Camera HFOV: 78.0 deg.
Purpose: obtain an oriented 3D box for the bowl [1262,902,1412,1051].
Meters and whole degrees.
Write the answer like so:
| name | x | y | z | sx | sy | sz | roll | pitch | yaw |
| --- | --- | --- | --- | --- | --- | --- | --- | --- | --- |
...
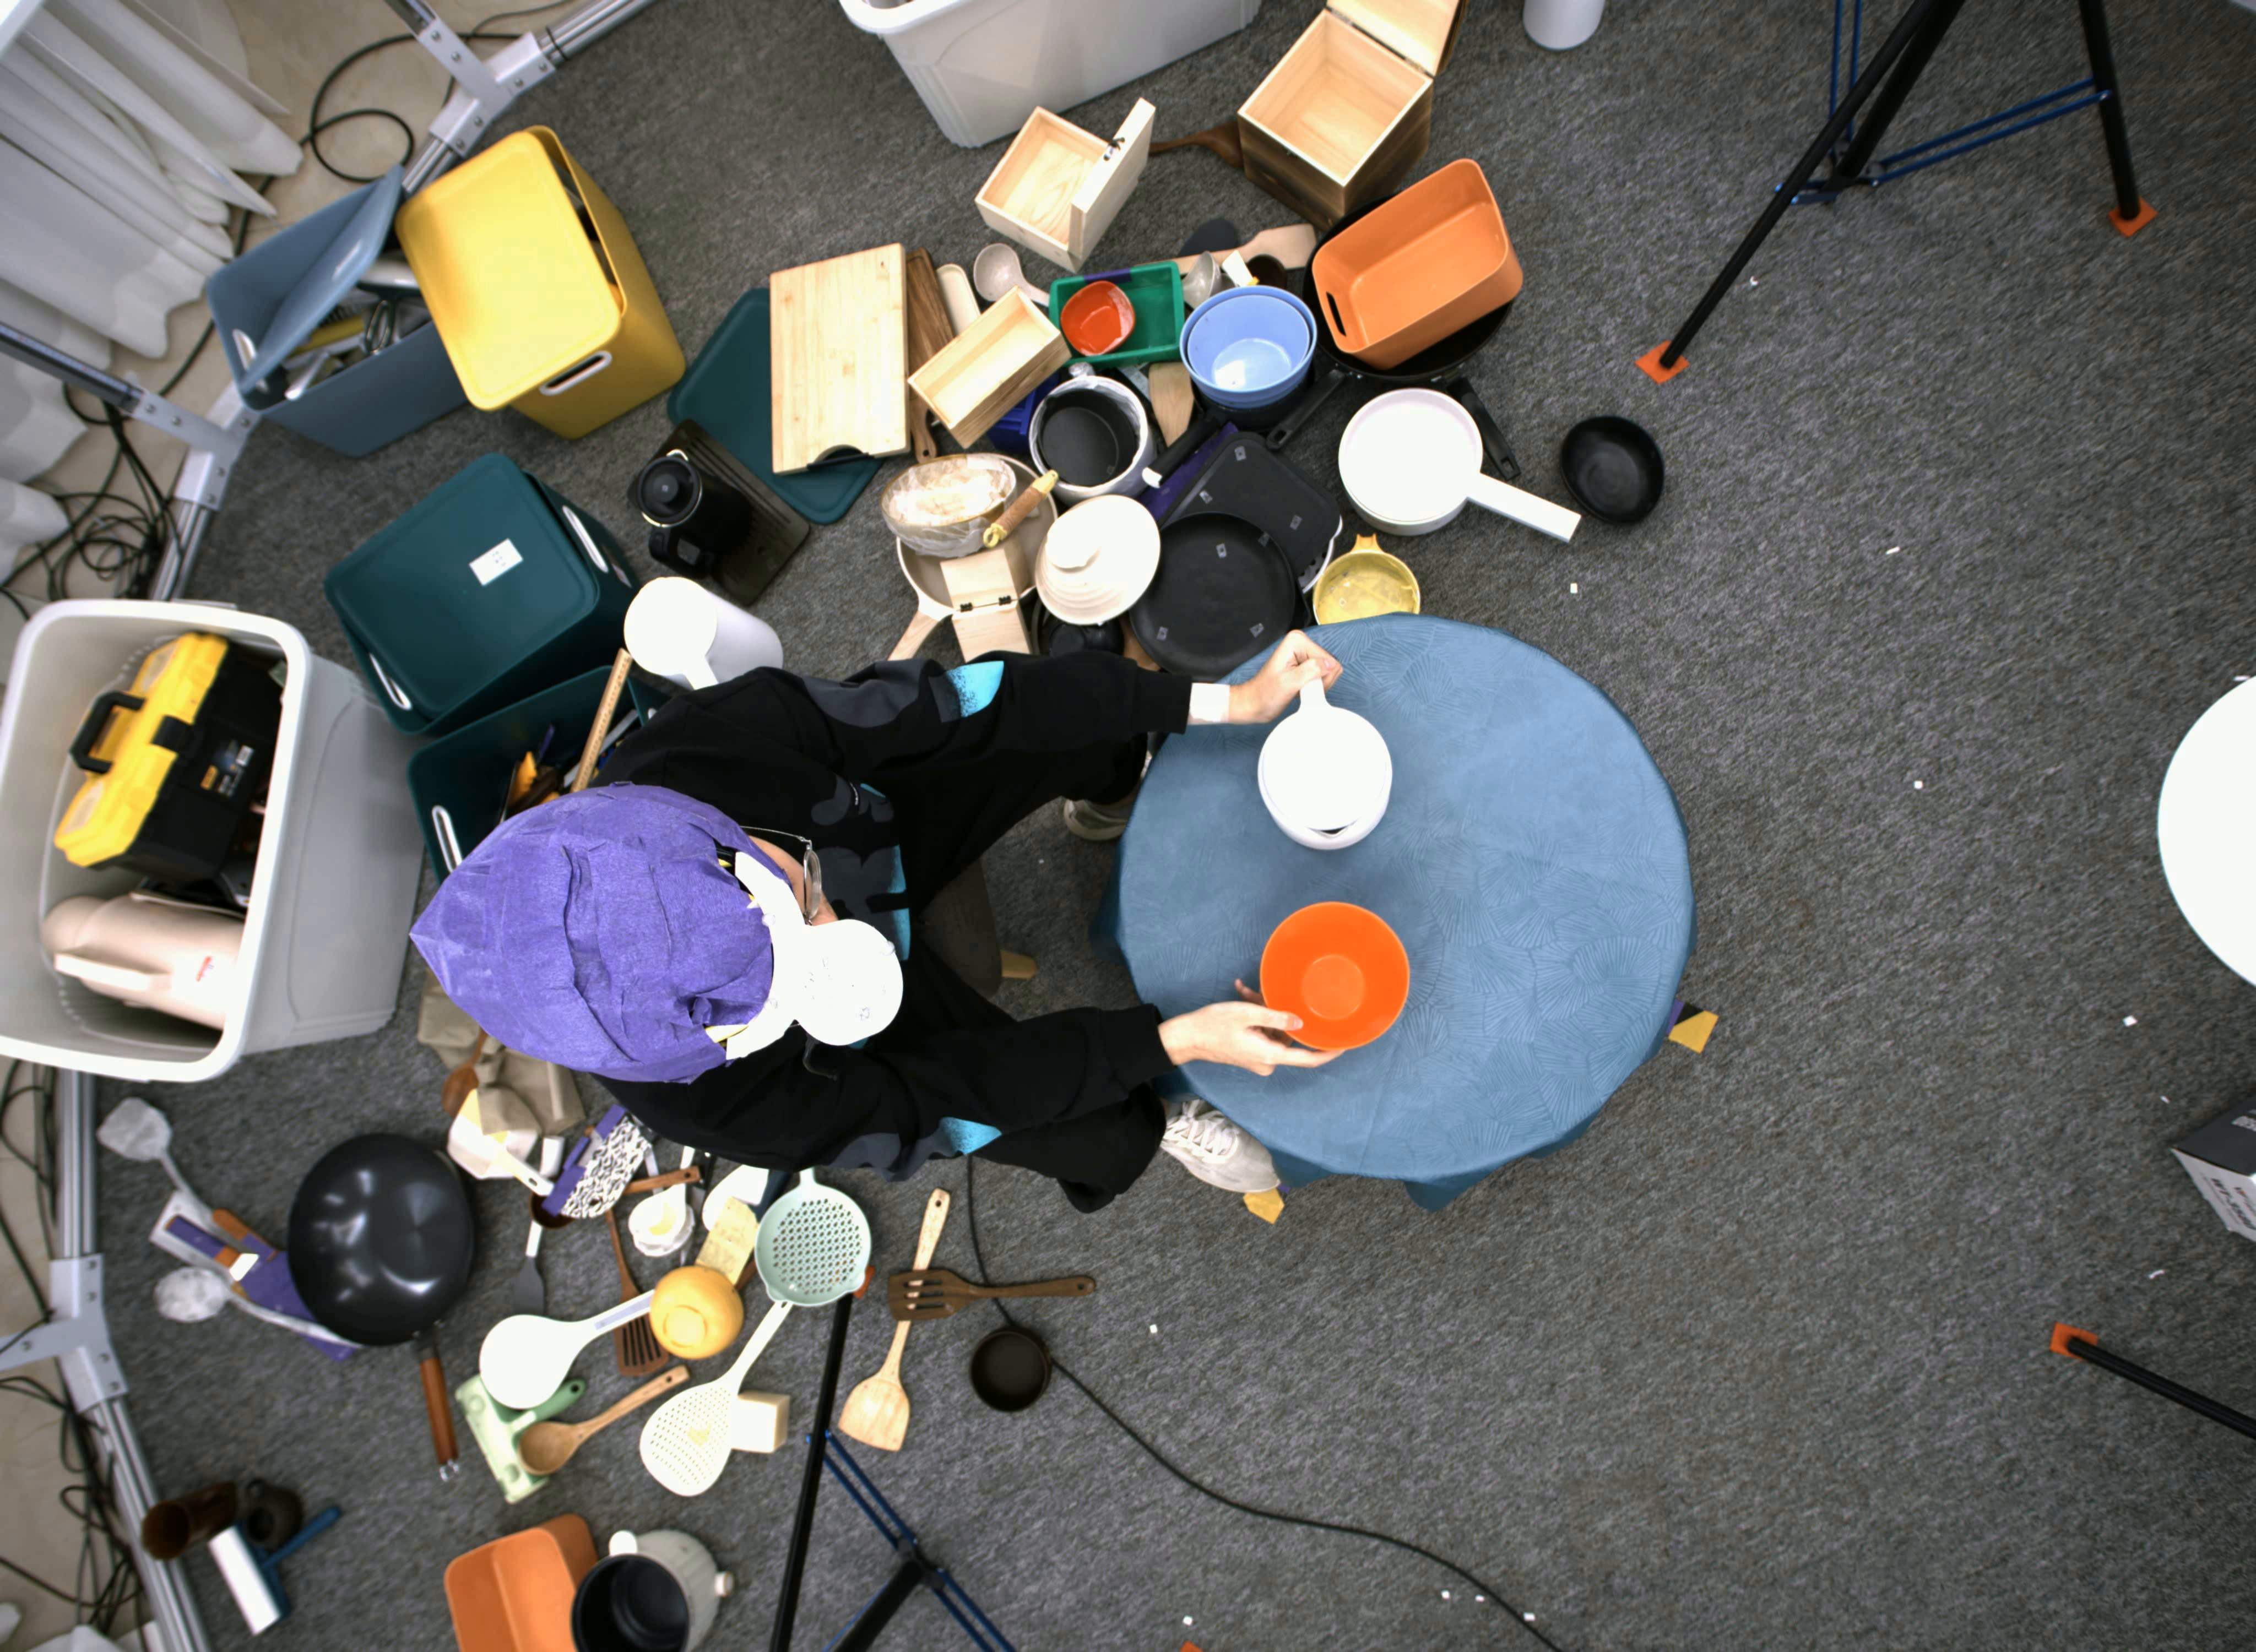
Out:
| name | x | y | z | sx | sy | sz | roll | pitch | yaw |
| --- | --- | --- | --- | --- | --- | --- | --- | --- | --- |
| bowl | 0.212 | 0.153 | 1.411 | 0.148 | 0.105 | 0.147 | -1 | 85 | 9 |

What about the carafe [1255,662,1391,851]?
| name | x | y | z | sx | sy | sz | roll | pitch | yaw |
| --- | --- | --- | --- | --- | --- | --- | --- | --- | --- |
| carafe | 0.193 | -0.071 | 1.390 | 0.133 | 0.183 | 0.189 | -11 | 82 | 7 |
